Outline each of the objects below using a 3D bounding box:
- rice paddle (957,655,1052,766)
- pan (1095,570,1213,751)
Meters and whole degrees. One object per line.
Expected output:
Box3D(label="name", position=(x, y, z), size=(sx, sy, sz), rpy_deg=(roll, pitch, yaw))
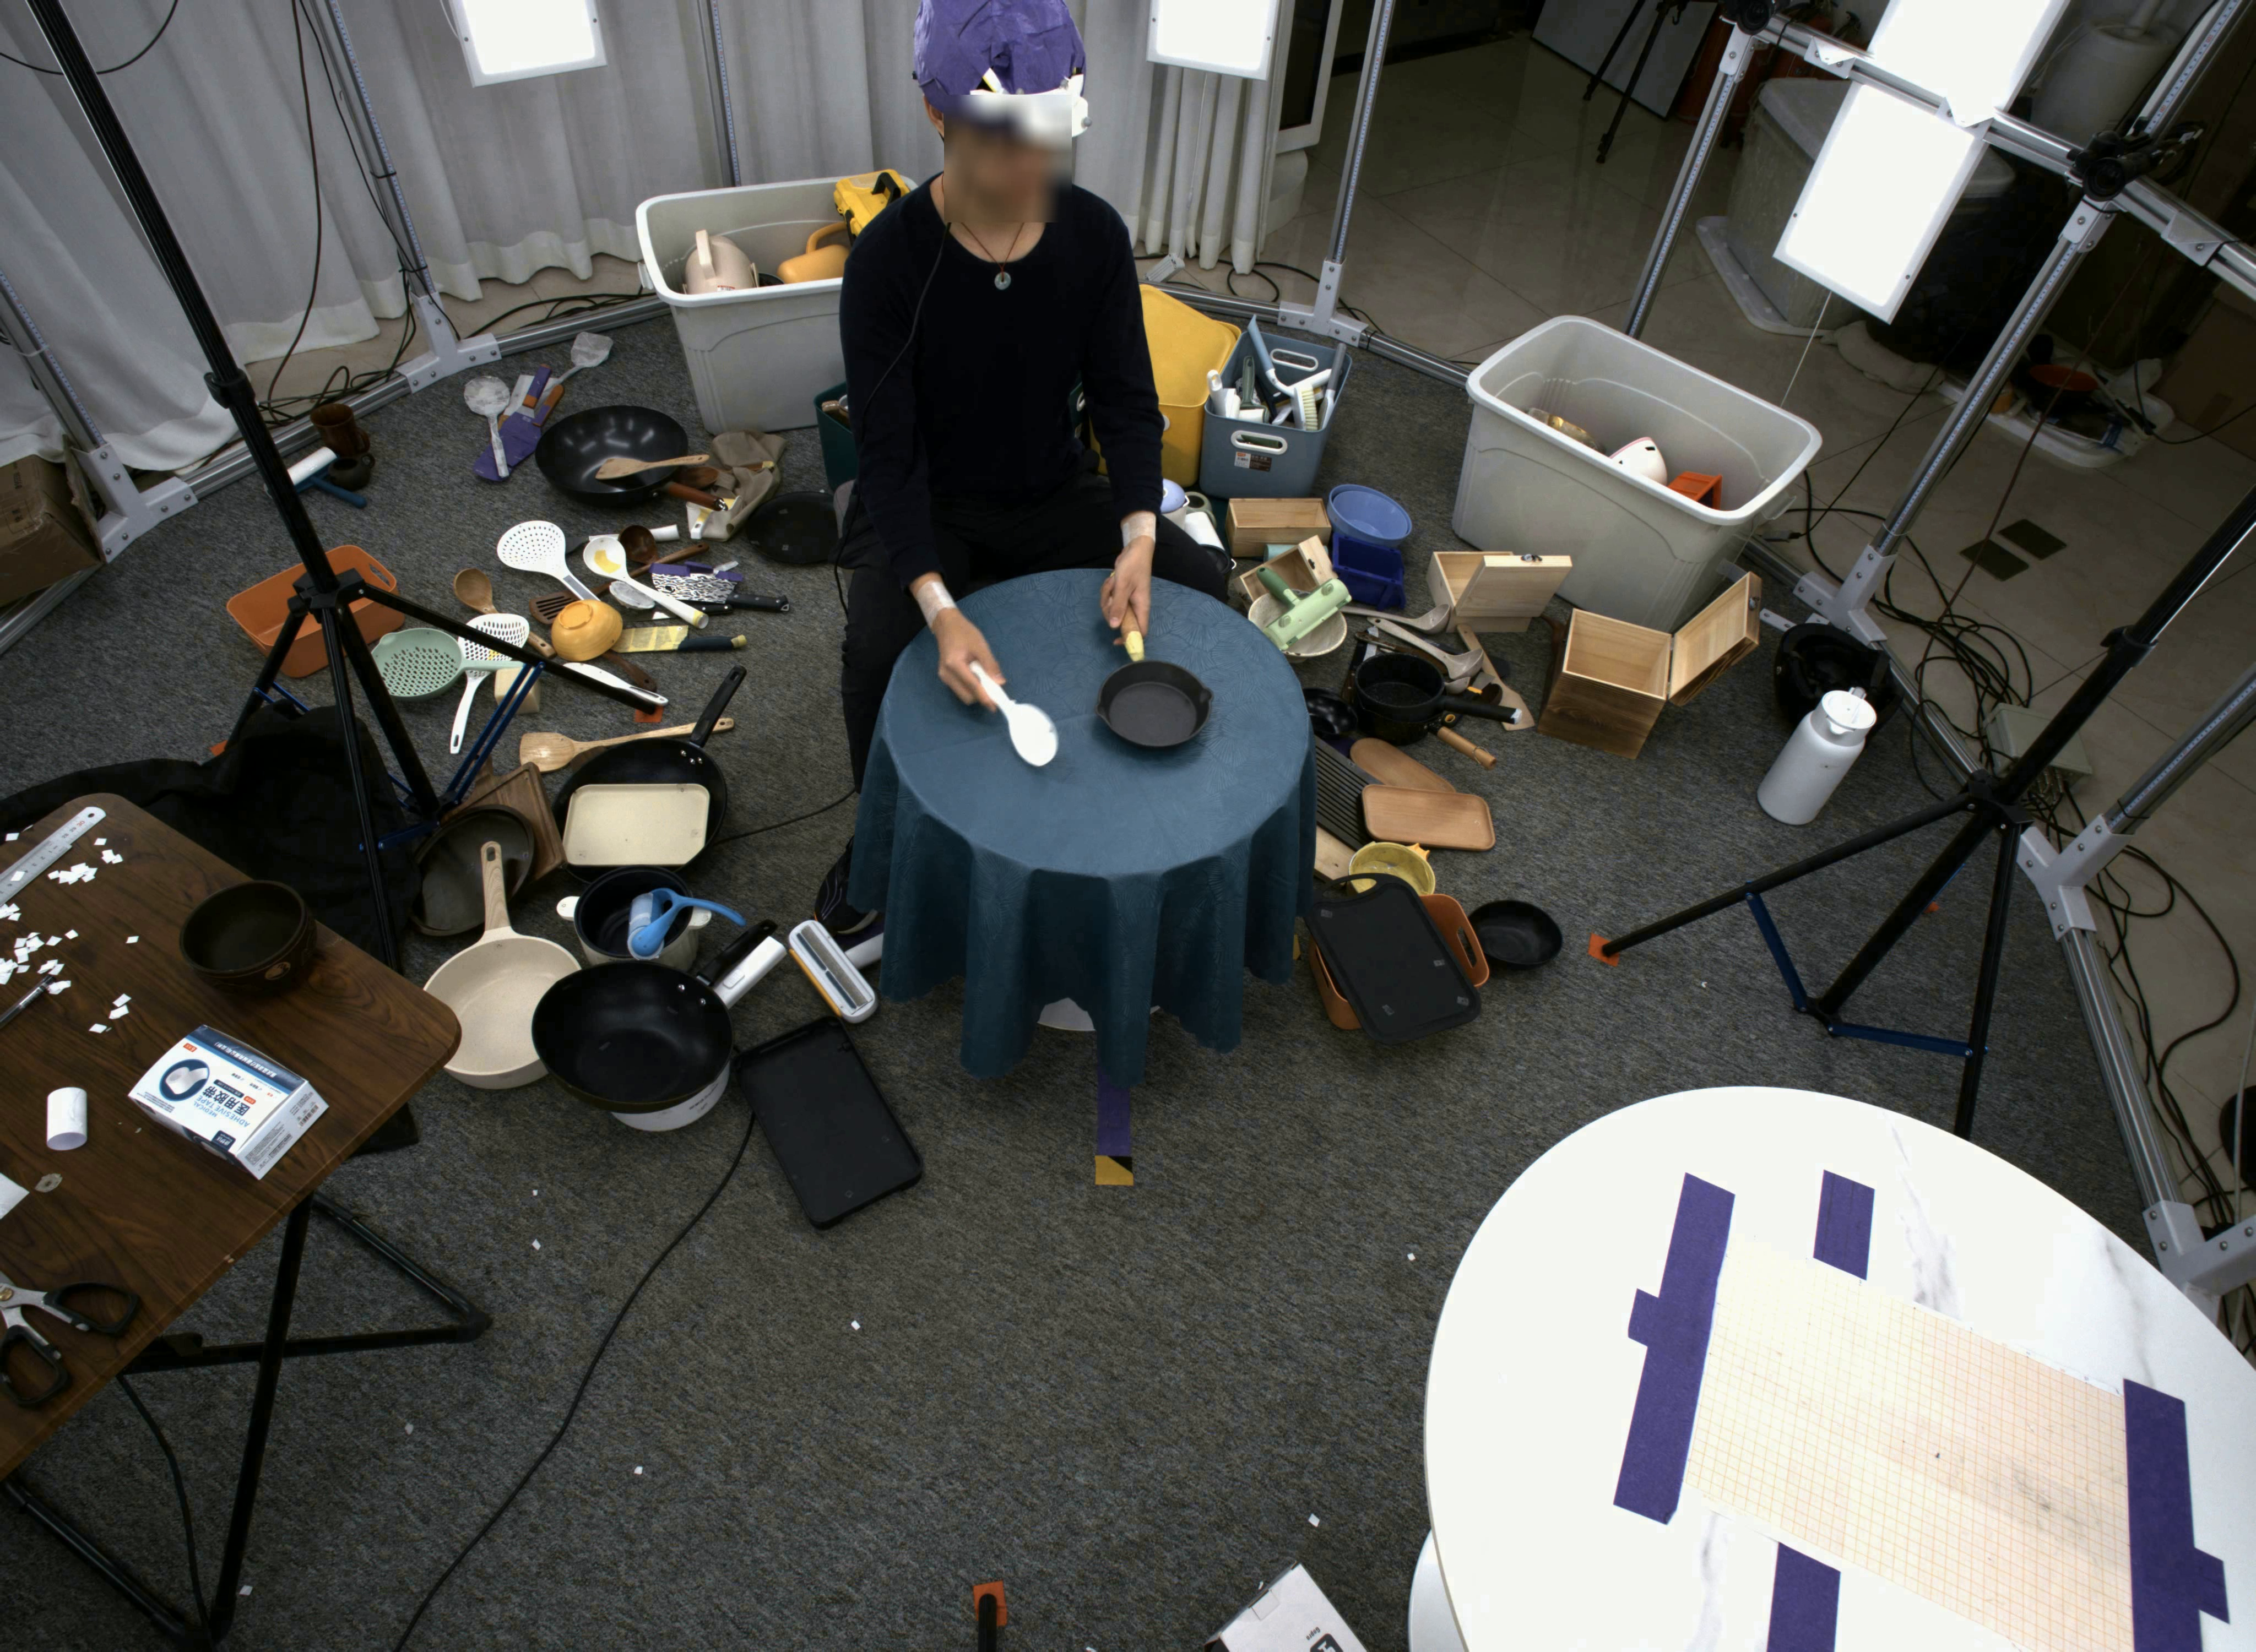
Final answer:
Box3D(label="rice paddle", position=(-0.166, -0.159, 1.741), size=(0.029, 0.067, 0.209), rpy_deg=(-8, 47, -44))
Box3D(label="pan", position=(0.019, -0.236, 1.831), size=(0.169, 0.048, 0.332), rpy_deg=(-7, 55, -10))
